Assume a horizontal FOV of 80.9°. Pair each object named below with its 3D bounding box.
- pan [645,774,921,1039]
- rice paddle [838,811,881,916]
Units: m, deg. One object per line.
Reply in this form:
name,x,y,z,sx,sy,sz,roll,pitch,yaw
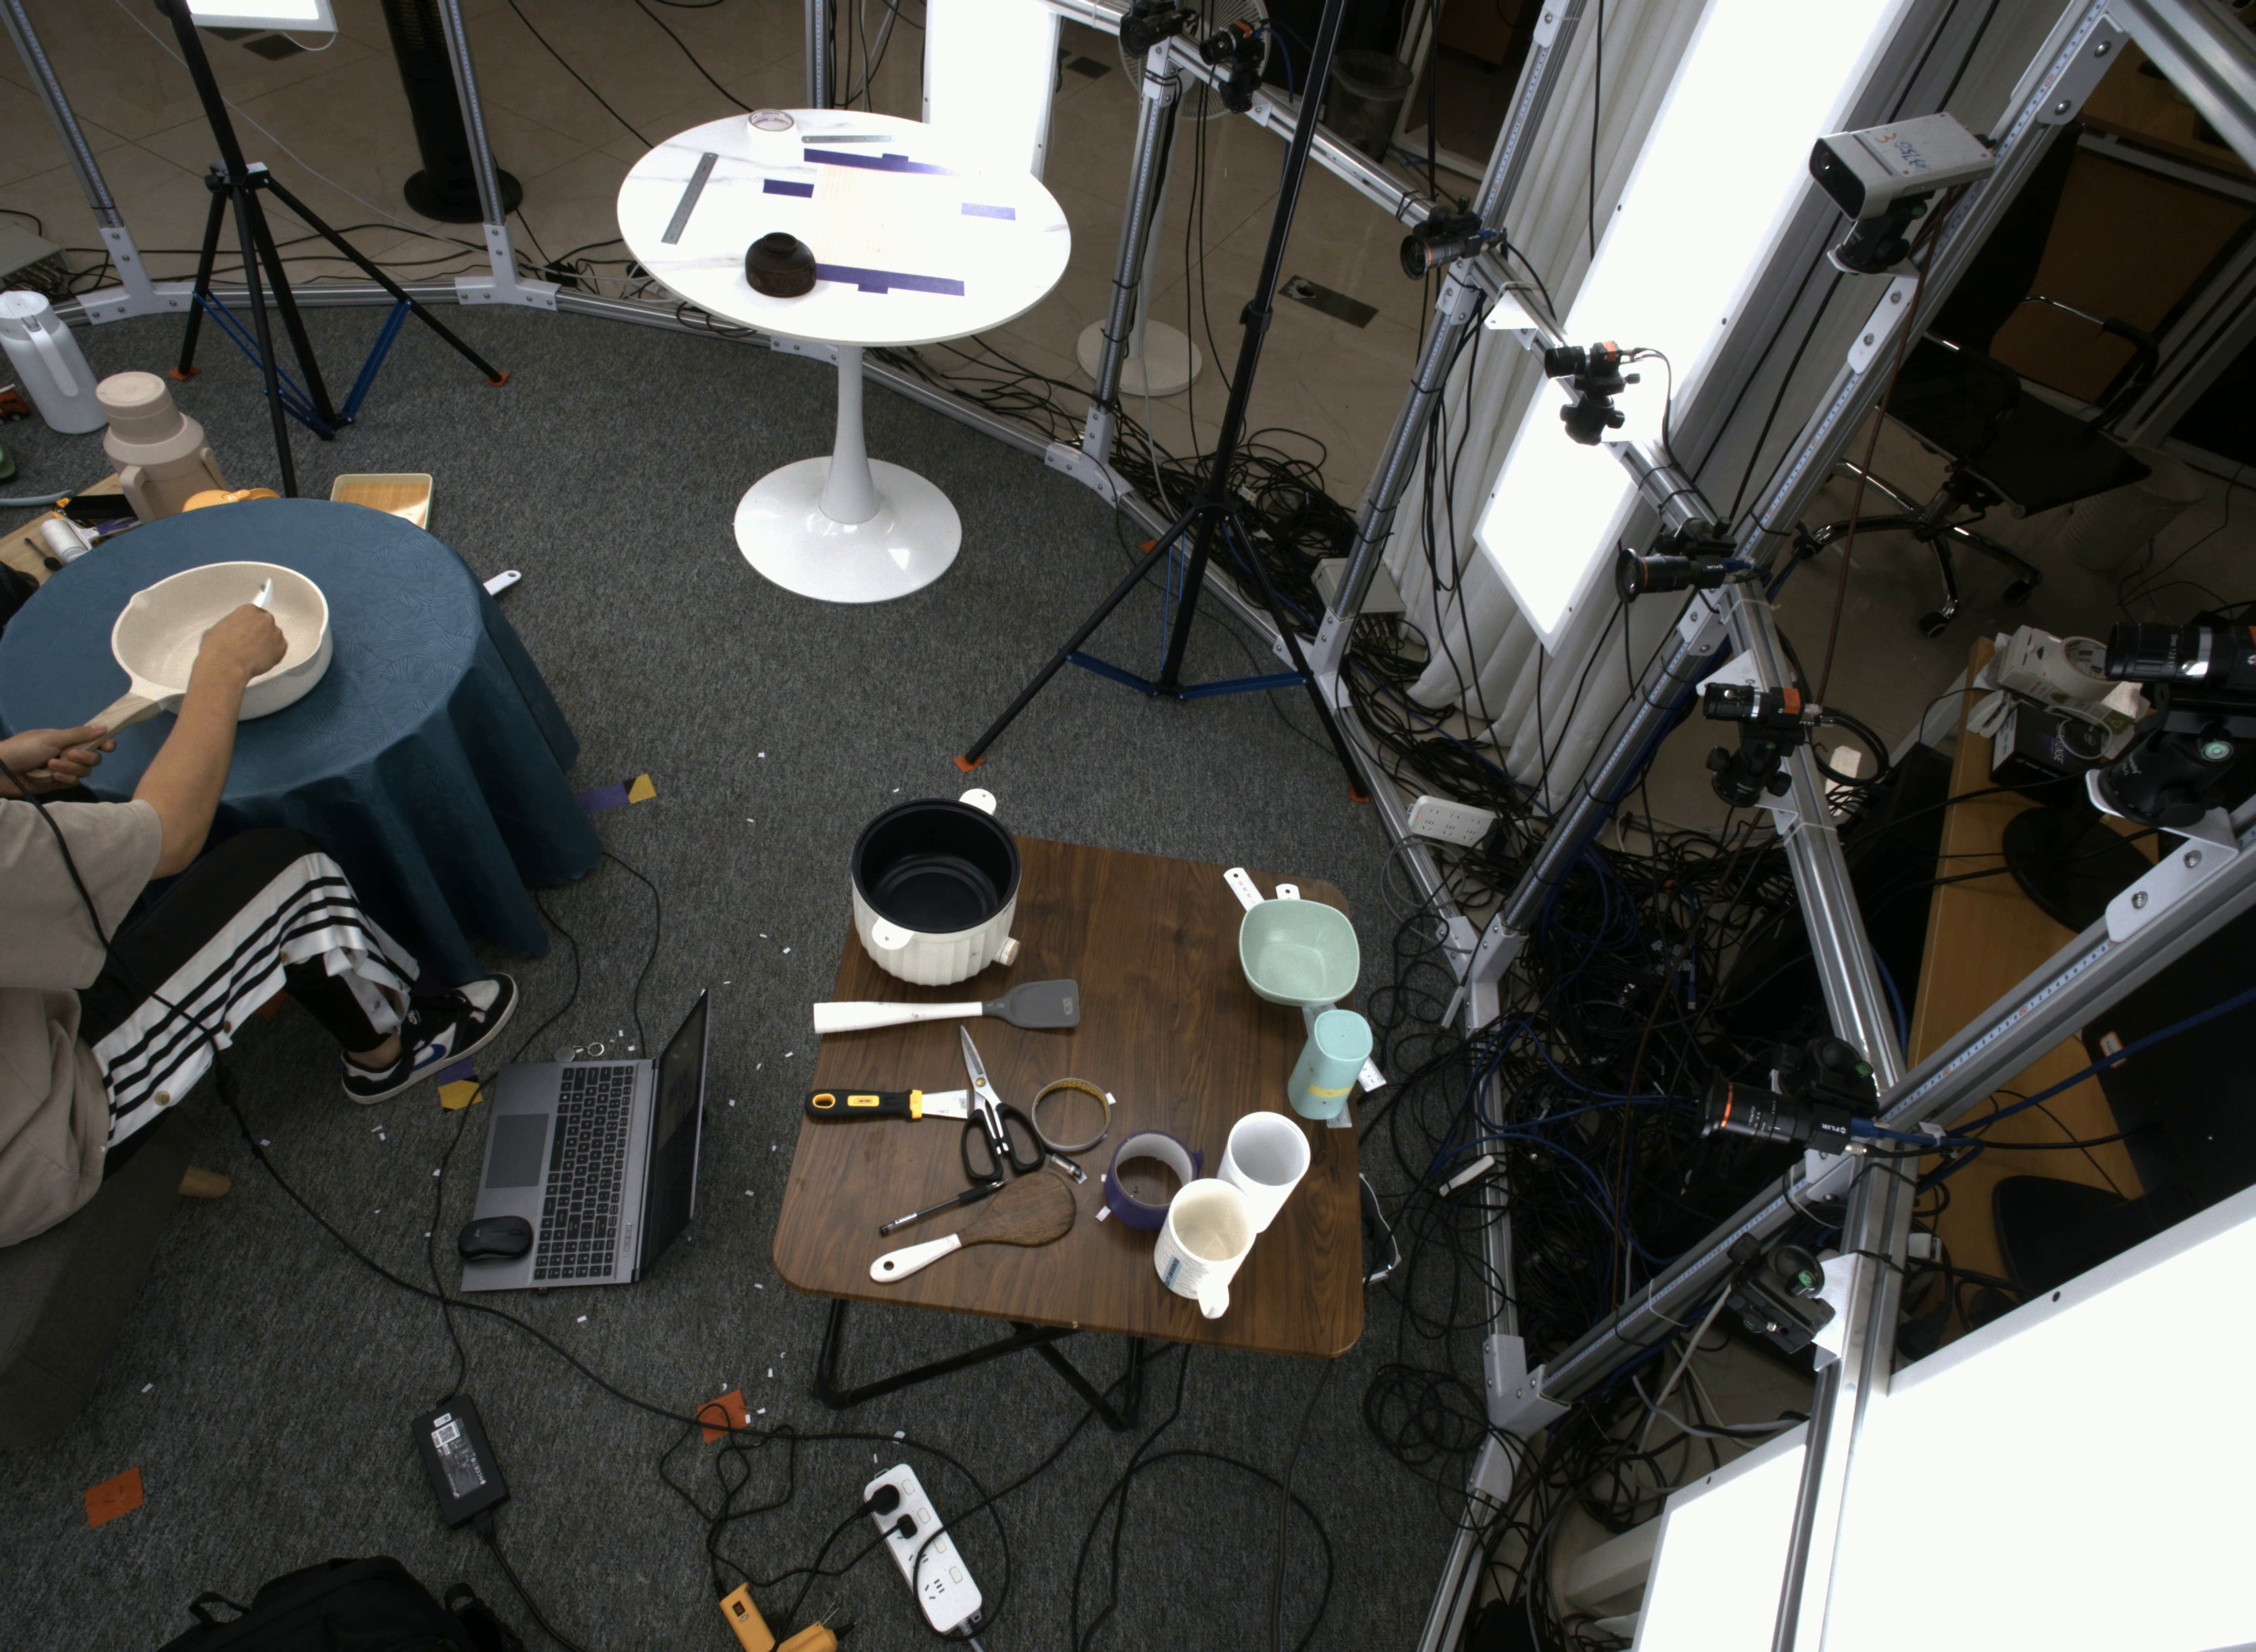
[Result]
pan,-0.434,0.112,1.588,0.259,0.104,0.433,31,54,8
rice paddle,-0.319,0.038,1.549,0.068,0.030,0.199,-40,32,9
